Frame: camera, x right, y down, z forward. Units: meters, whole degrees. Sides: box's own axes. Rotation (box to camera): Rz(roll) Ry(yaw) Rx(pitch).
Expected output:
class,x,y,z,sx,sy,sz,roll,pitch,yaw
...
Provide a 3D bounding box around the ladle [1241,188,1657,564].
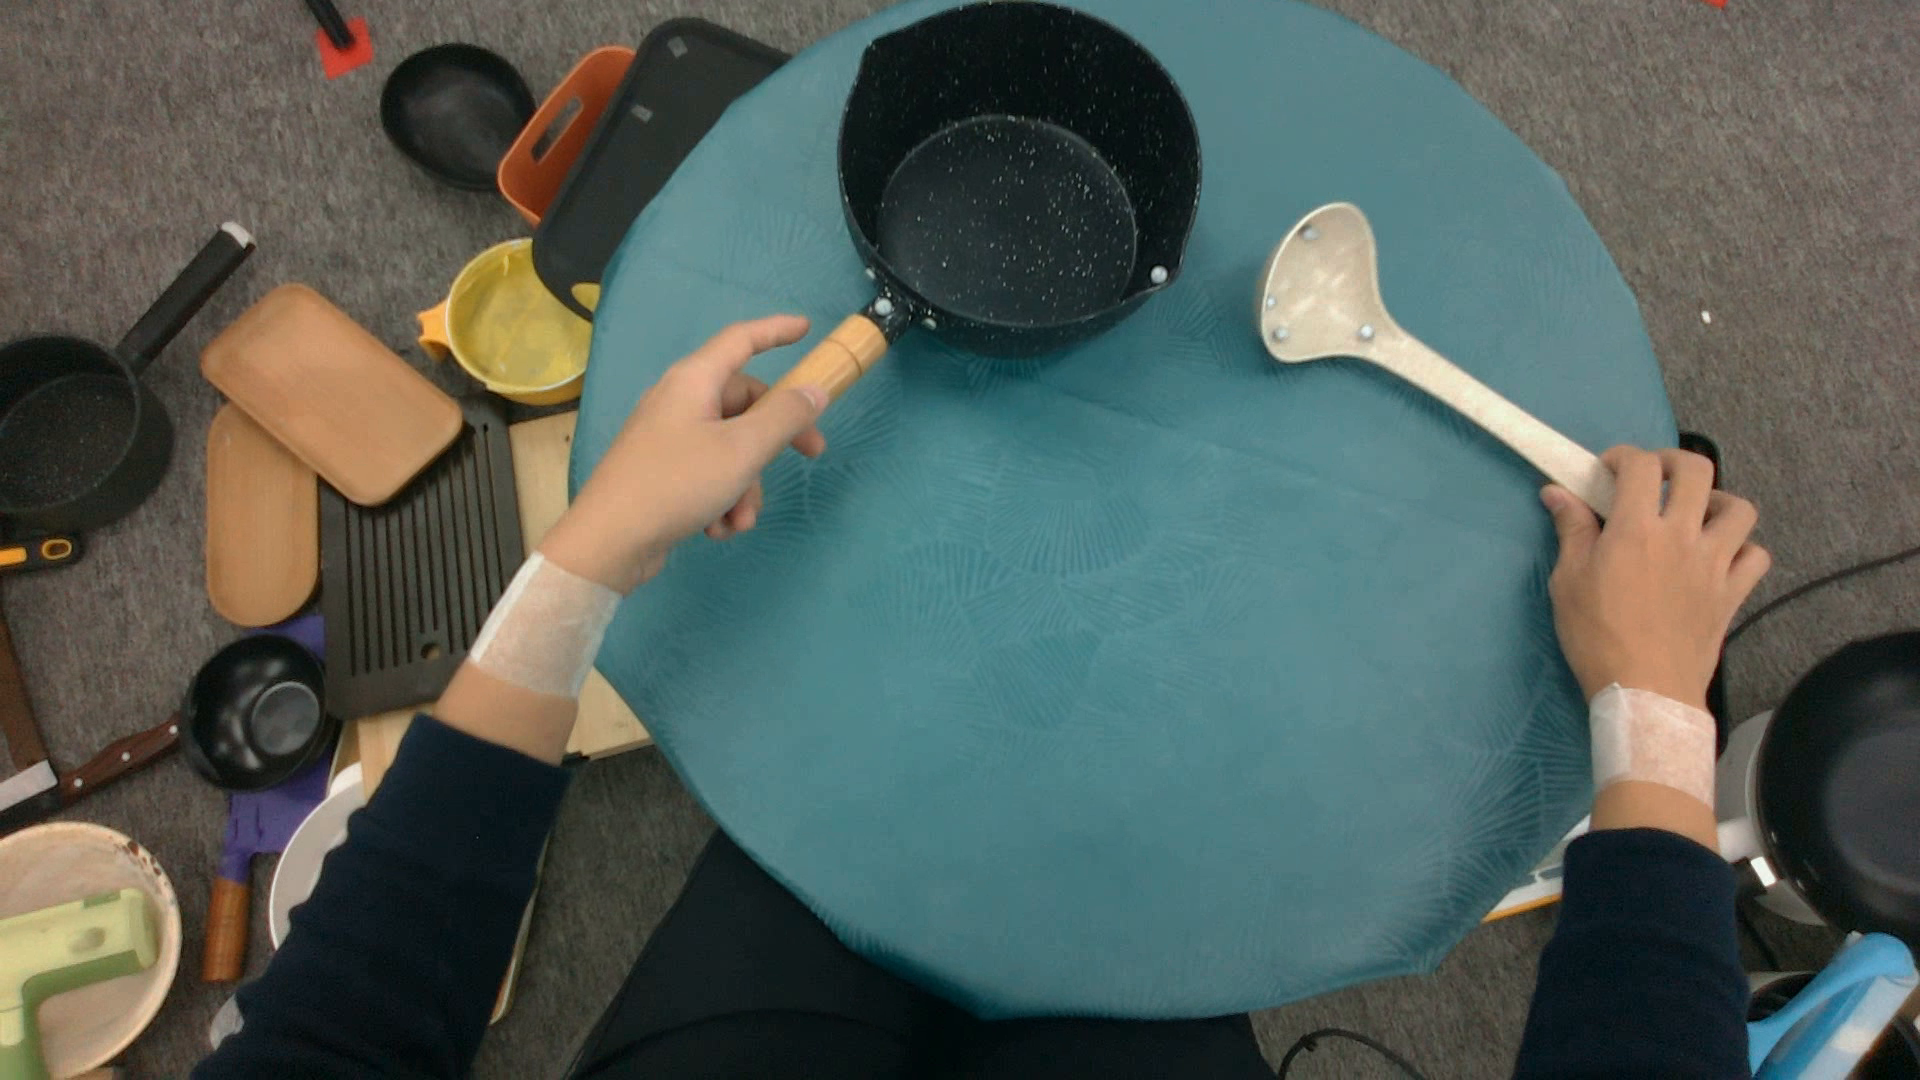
class,x,y,z,sx,sy,sz,roll,pitch,yaw
ladle,0.268,-0.079,0.727,0.275,0.069,0.089,39,84,5

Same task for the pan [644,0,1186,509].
class,x,y,z,sx,sy,sz,roll,pitch,yaw
pan,-0.029,-0.132,0.700,0.207,0.108,0.344,38,75,5
